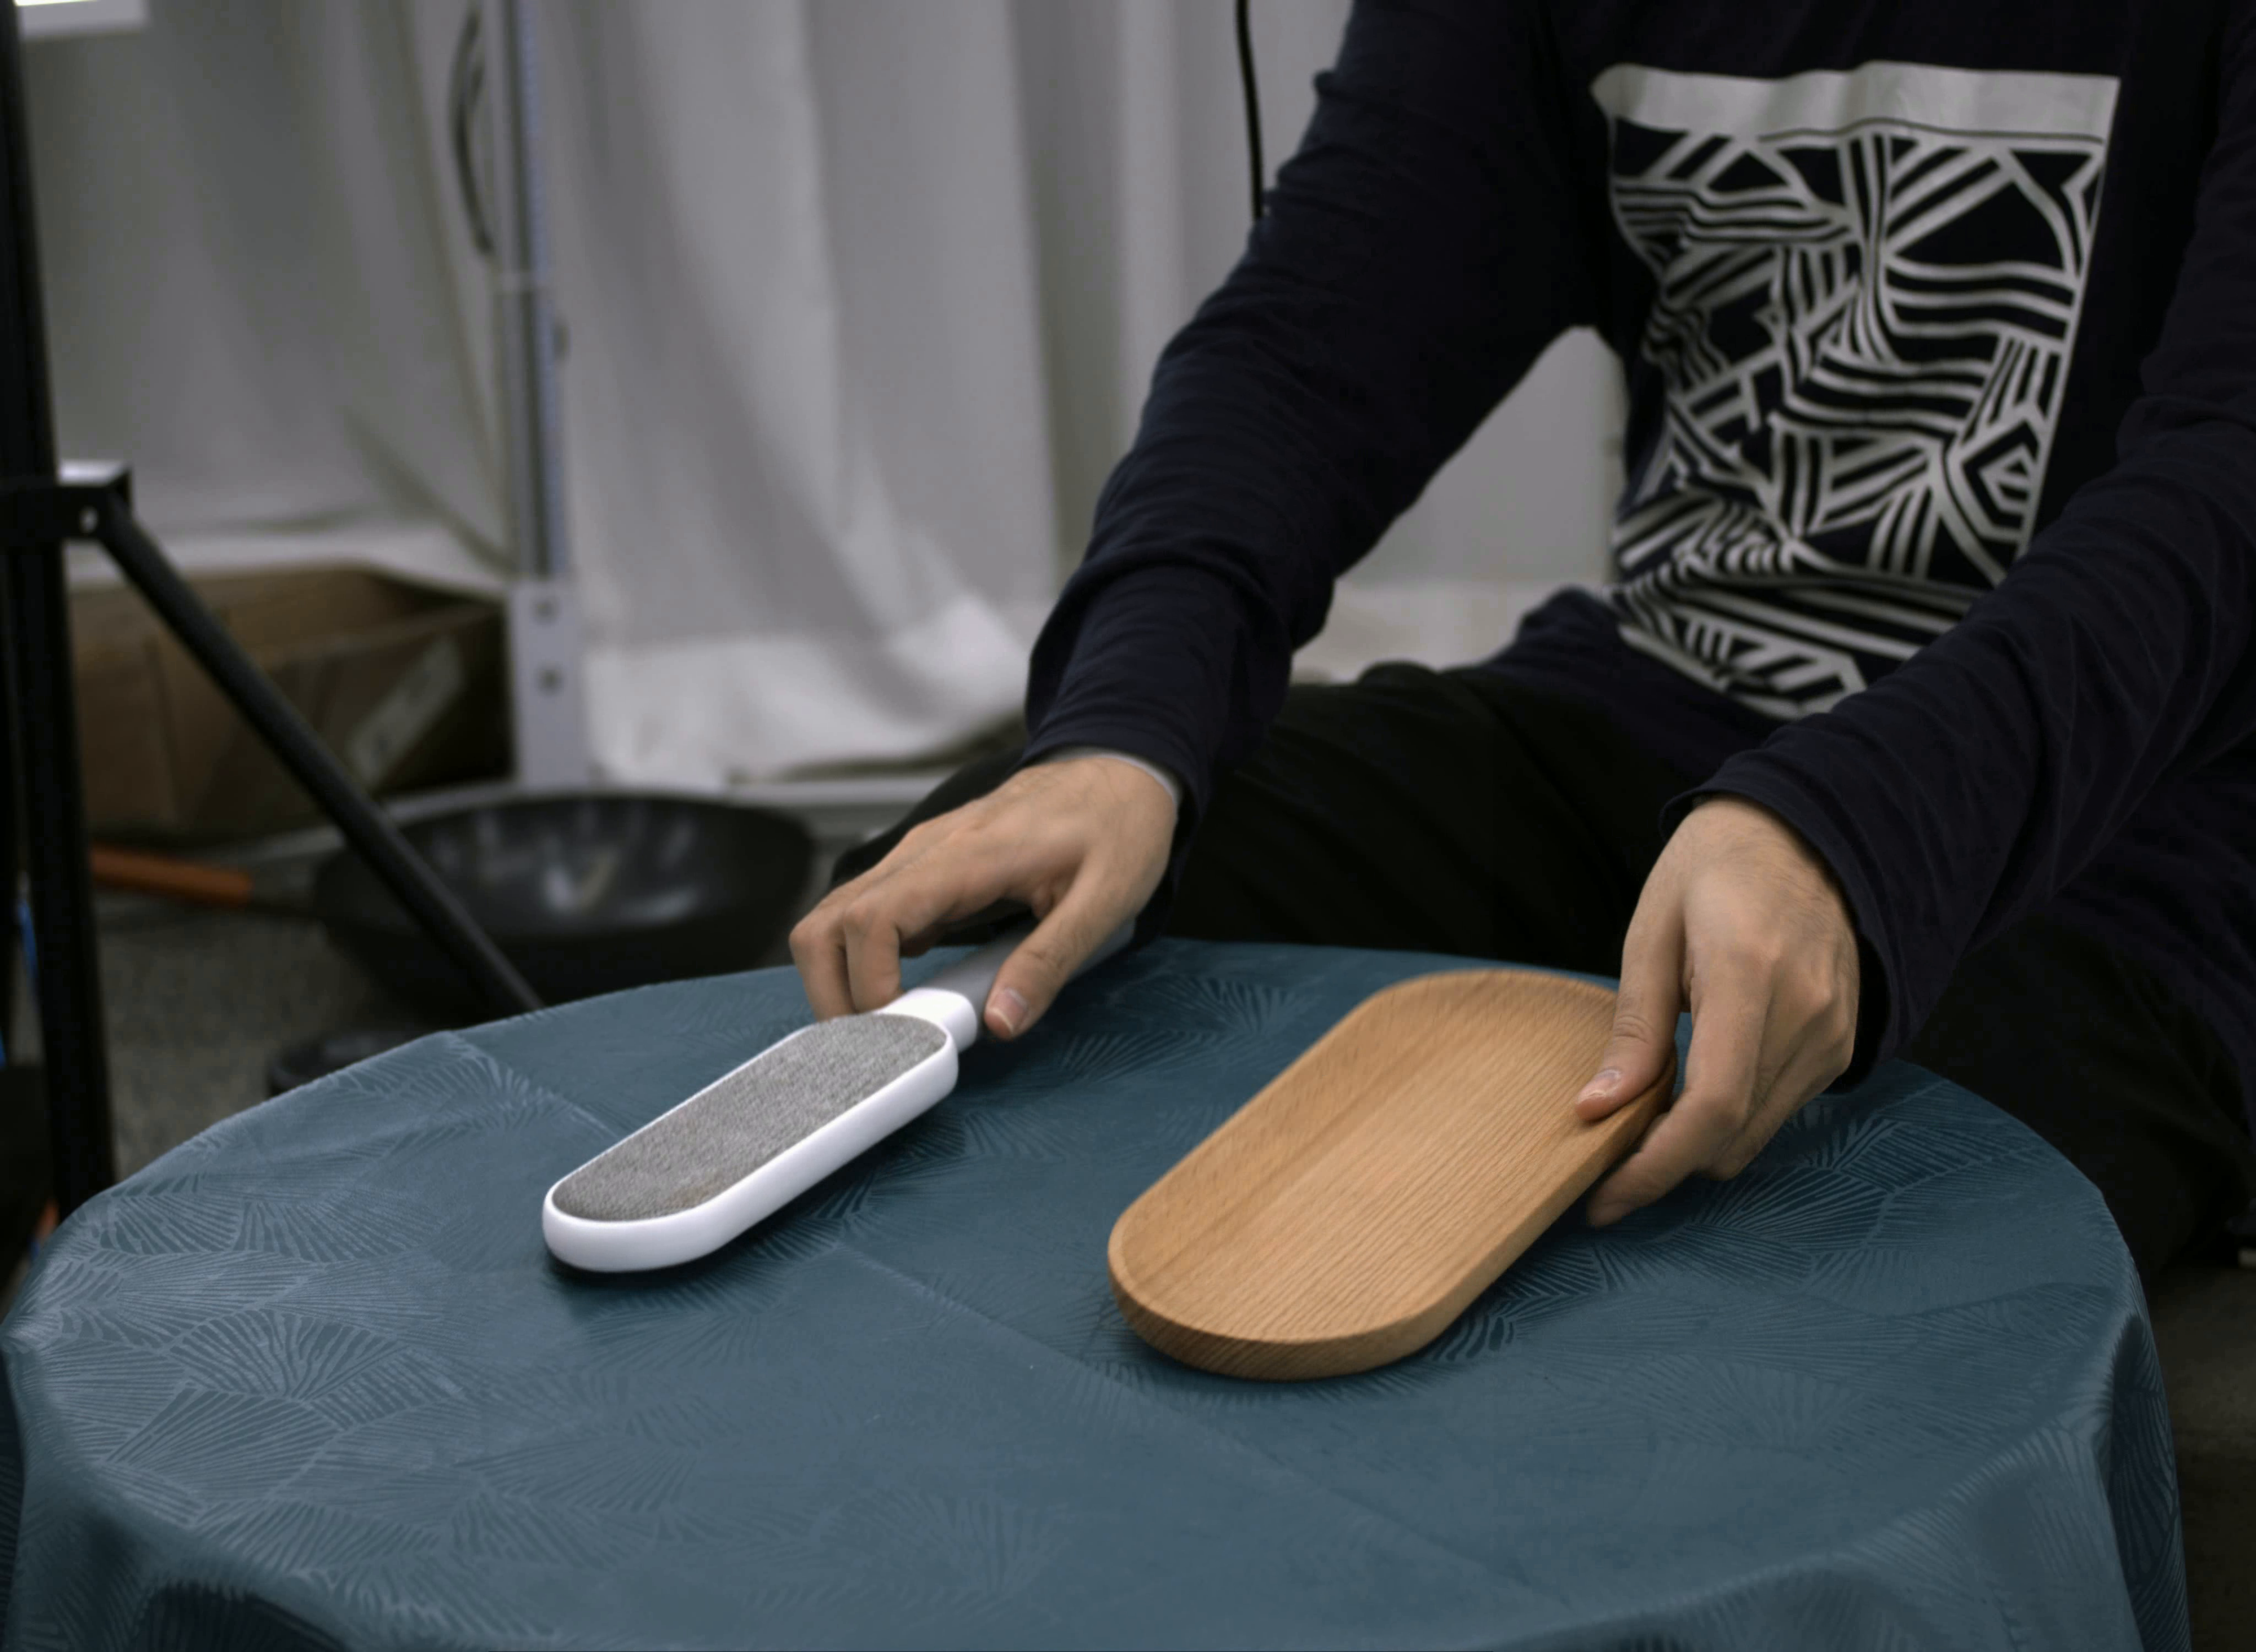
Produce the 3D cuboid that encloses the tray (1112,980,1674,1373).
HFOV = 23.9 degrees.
[{"bbox_3d":[0.078,0.097,1.506,0.103,0.020,0.227,12,26,27],"label":"tray"}]

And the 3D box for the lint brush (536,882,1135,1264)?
[{"bbox_3d":[-0.078,0.072,1.621,0.061,0.021,0.304,0,18,31],"label":"lint brush"}]
